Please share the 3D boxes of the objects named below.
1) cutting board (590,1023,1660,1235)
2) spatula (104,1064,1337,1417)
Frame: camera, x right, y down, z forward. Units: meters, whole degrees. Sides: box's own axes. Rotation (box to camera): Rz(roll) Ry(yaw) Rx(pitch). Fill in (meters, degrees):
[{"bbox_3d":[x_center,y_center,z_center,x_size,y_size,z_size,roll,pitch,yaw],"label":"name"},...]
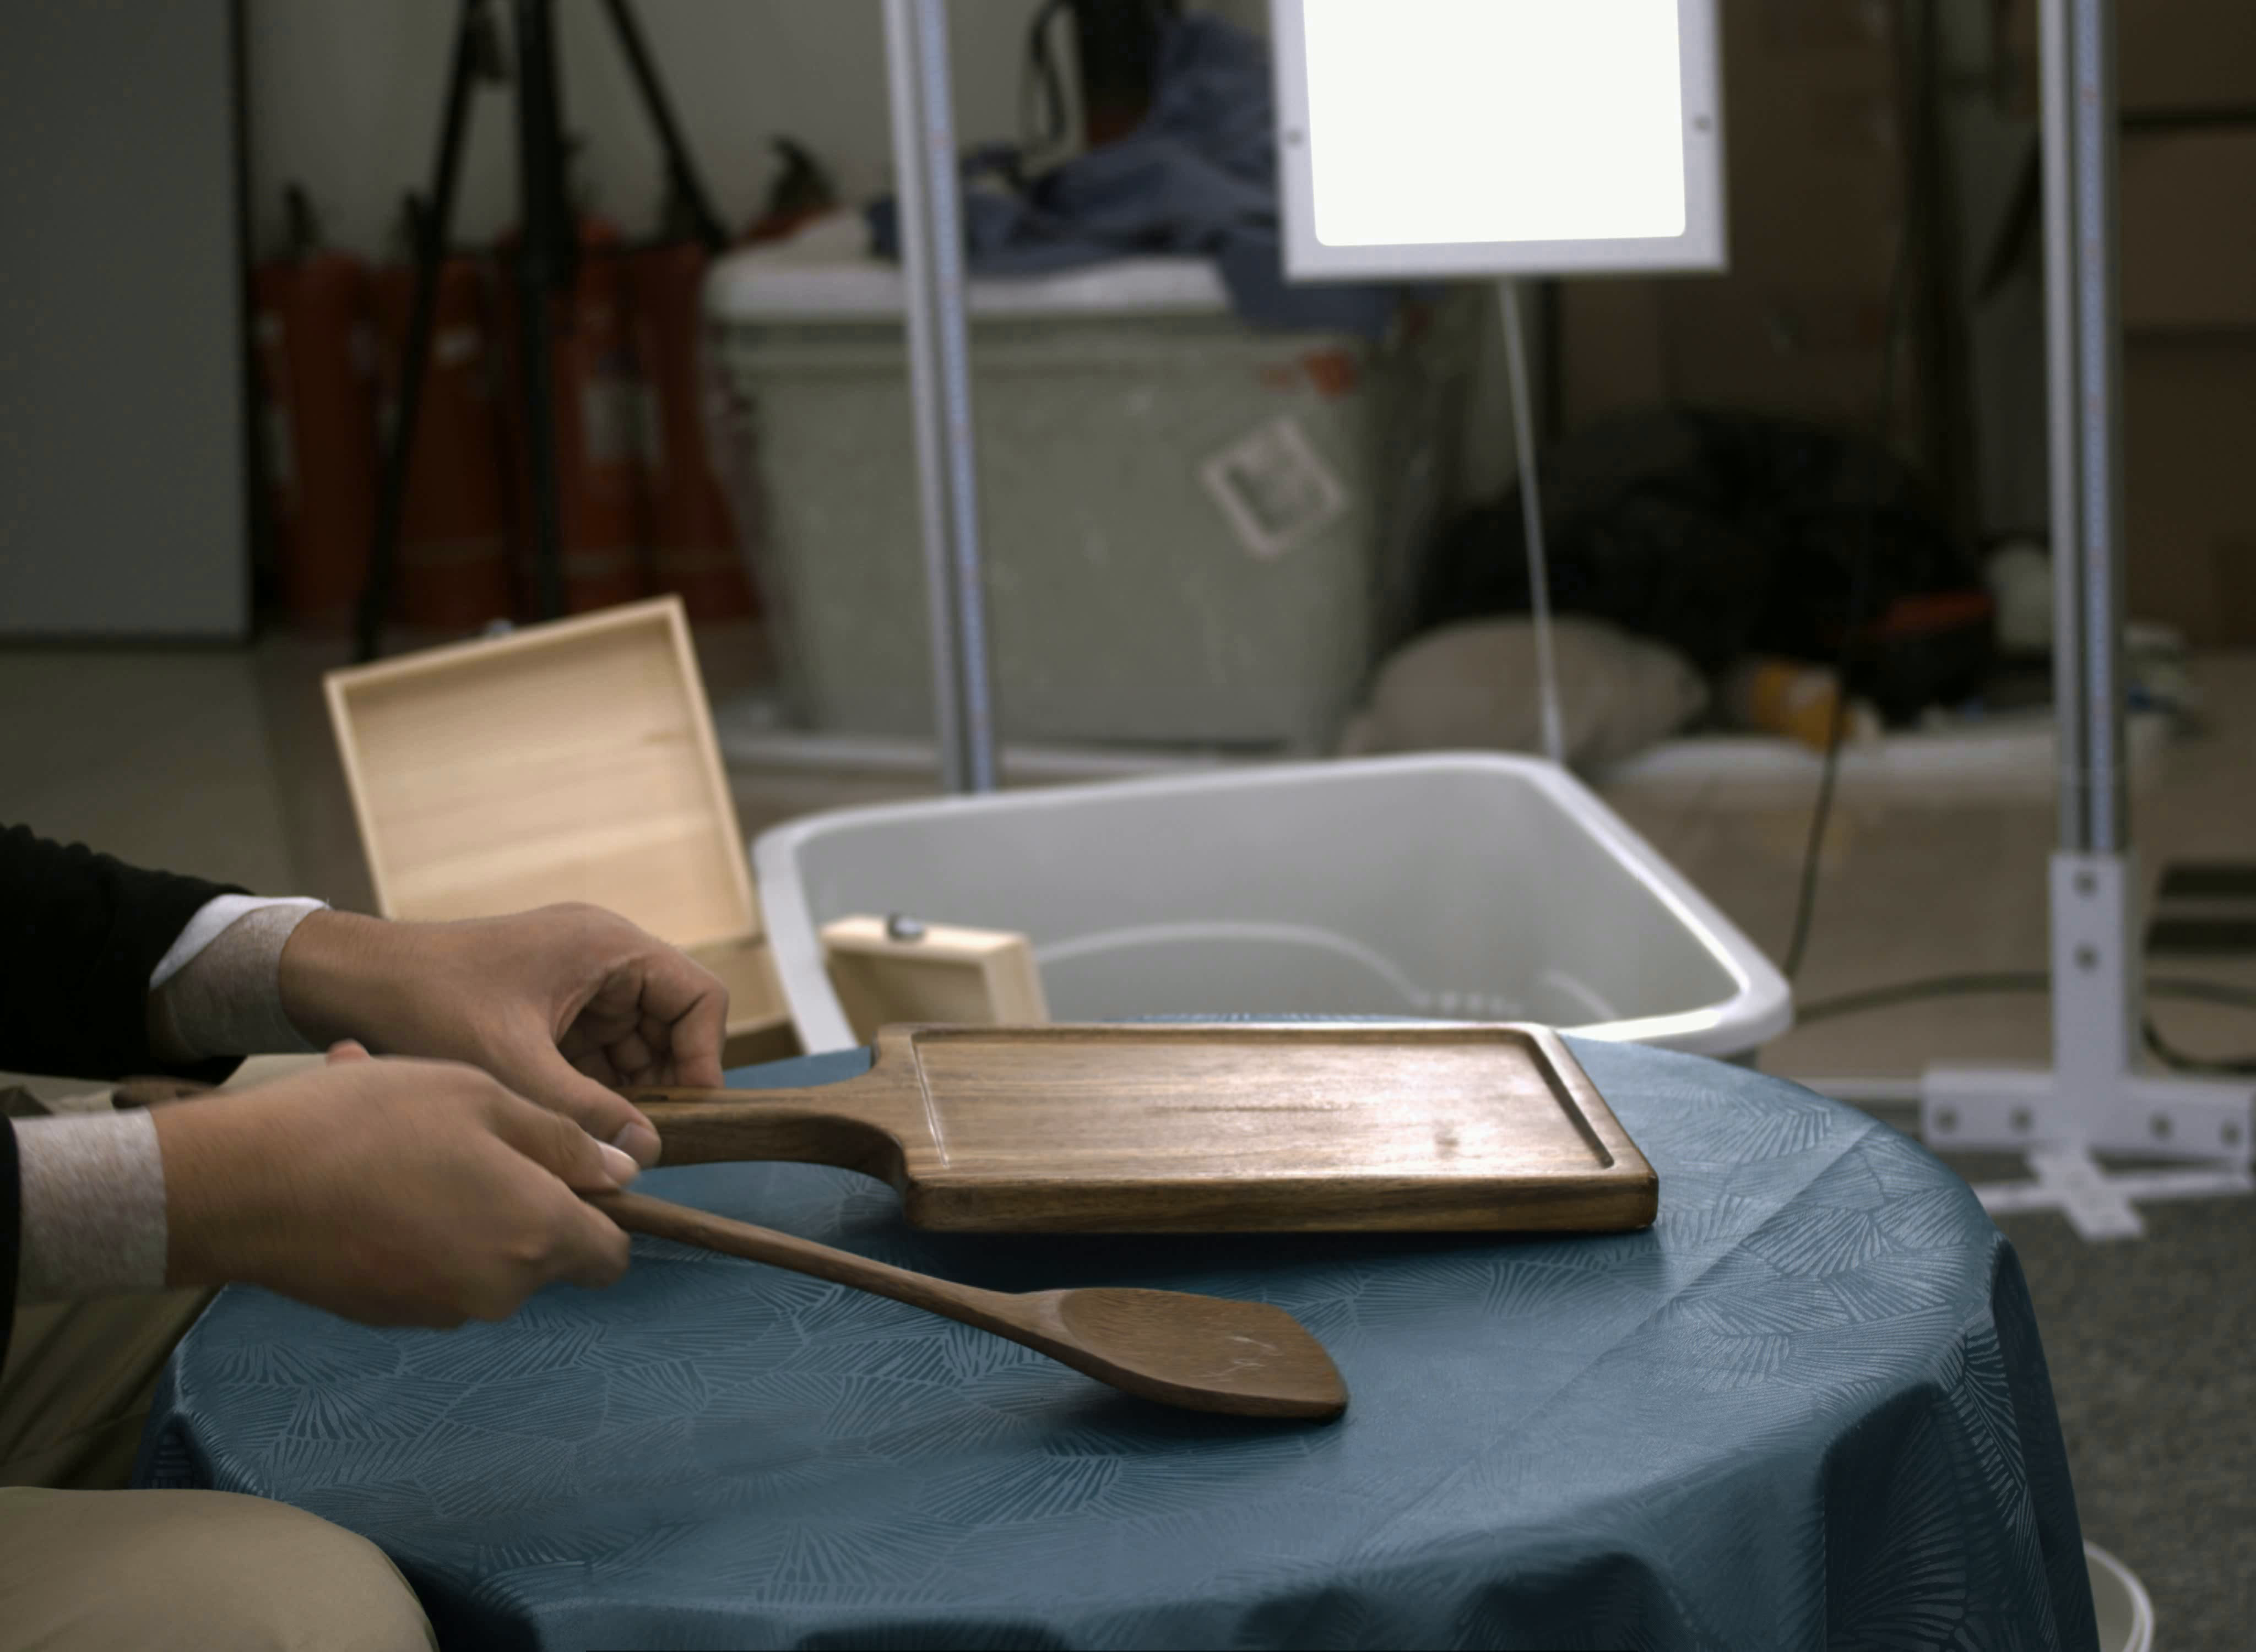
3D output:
[{"bbox_3d":[-0.008,0.102,1.886,0.350,0.023,0.201,0,13,-5],"label":"cutting board"},{"bbox_3d":[-0.119,0.122,1.661,0.381,0.016,0.096,16,11,-11],"label":"spatula"}]
